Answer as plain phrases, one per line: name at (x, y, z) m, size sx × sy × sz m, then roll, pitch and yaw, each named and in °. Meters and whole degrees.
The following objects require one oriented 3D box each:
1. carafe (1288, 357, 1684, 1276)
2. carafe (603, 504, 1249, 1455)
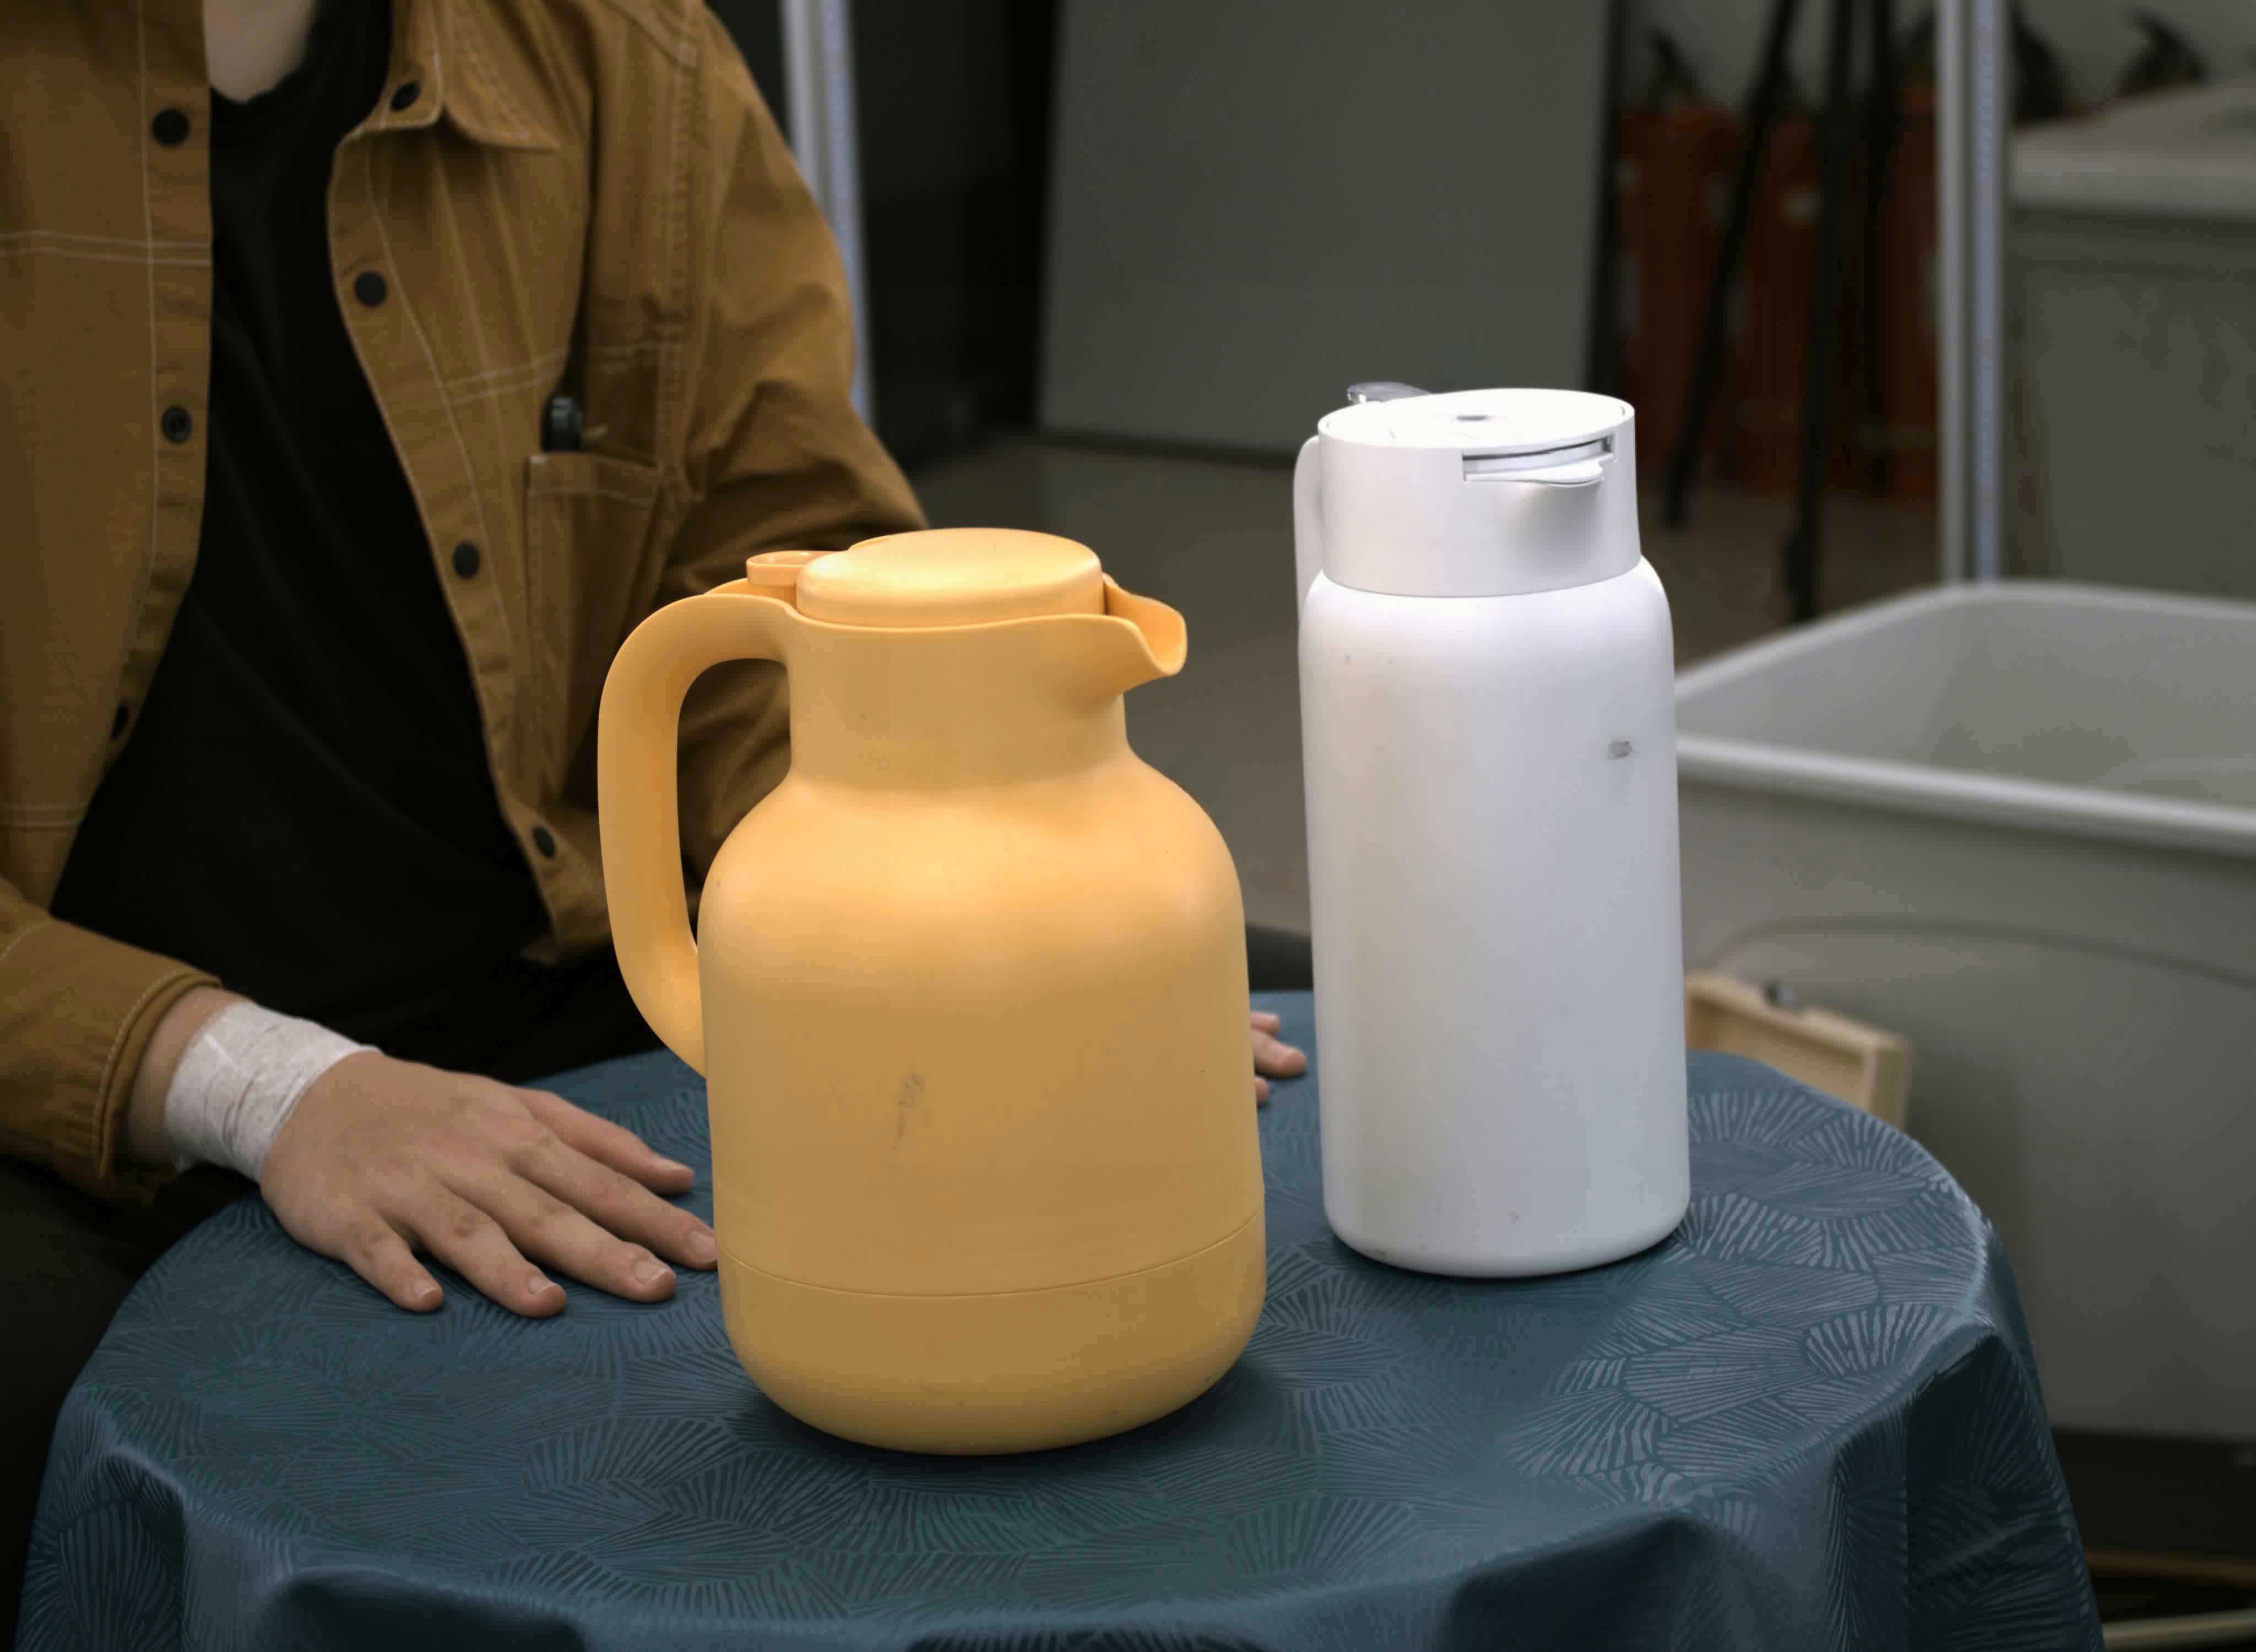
carafe at (0.103, -0.006, 1.694) m, size 0.121 × 0.272 × 0.174 m, roll -12°, pitch 15°, yaw -23°
carafe at (-0.062, 0.038, 1.576) m, size 0.203 × 0.263 × 0.160 m, roll 6°, pitch 14°, yaw 33°
